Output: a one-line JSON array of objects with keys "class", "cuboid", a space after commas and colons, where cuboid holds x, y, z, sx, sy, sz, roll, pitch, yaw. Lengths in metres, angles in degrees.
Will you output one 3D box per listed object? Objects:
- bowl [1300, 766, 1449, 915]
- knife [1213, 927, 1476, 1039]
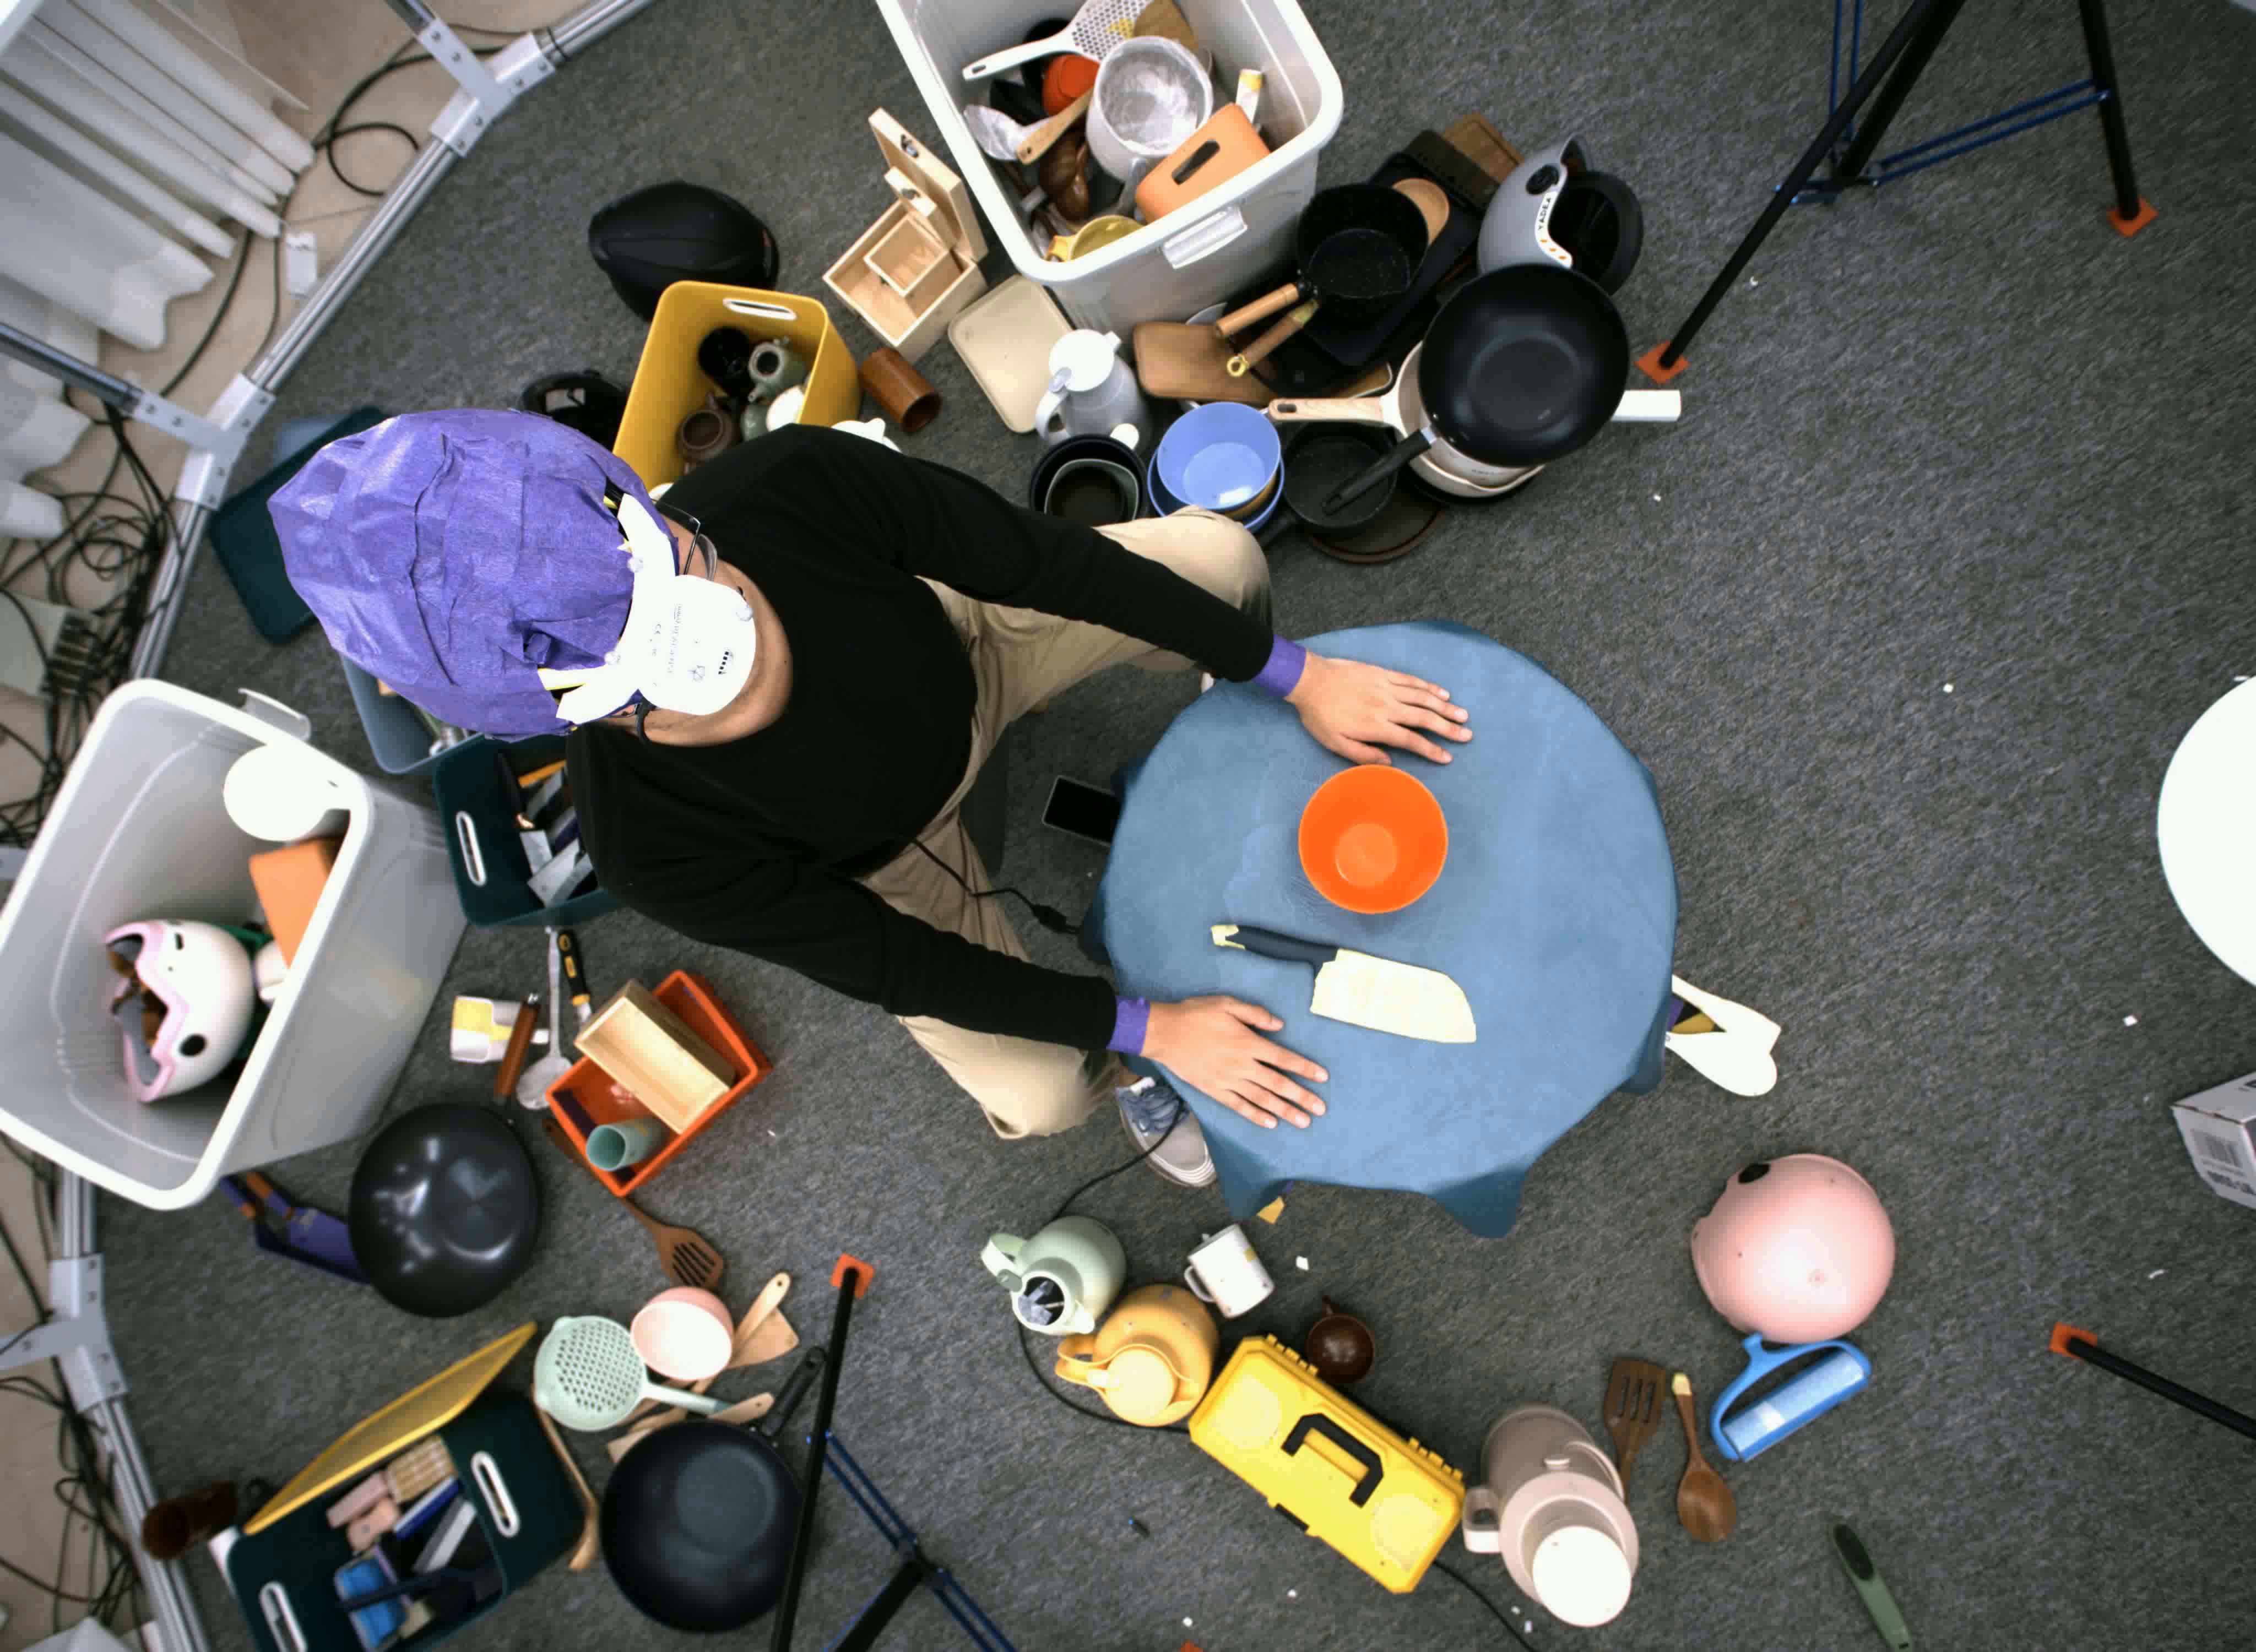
[{"class": "bowl", "cuboid": [0.252, 0.017, 1.416, 0.148, 0.104, 0.147, -1, 87, 11]}, {"class": "knife", "cuboid": [0.225, 0.163, 1.458, 0.290, 0.027, 0.081, 16, 89, 10]}]
